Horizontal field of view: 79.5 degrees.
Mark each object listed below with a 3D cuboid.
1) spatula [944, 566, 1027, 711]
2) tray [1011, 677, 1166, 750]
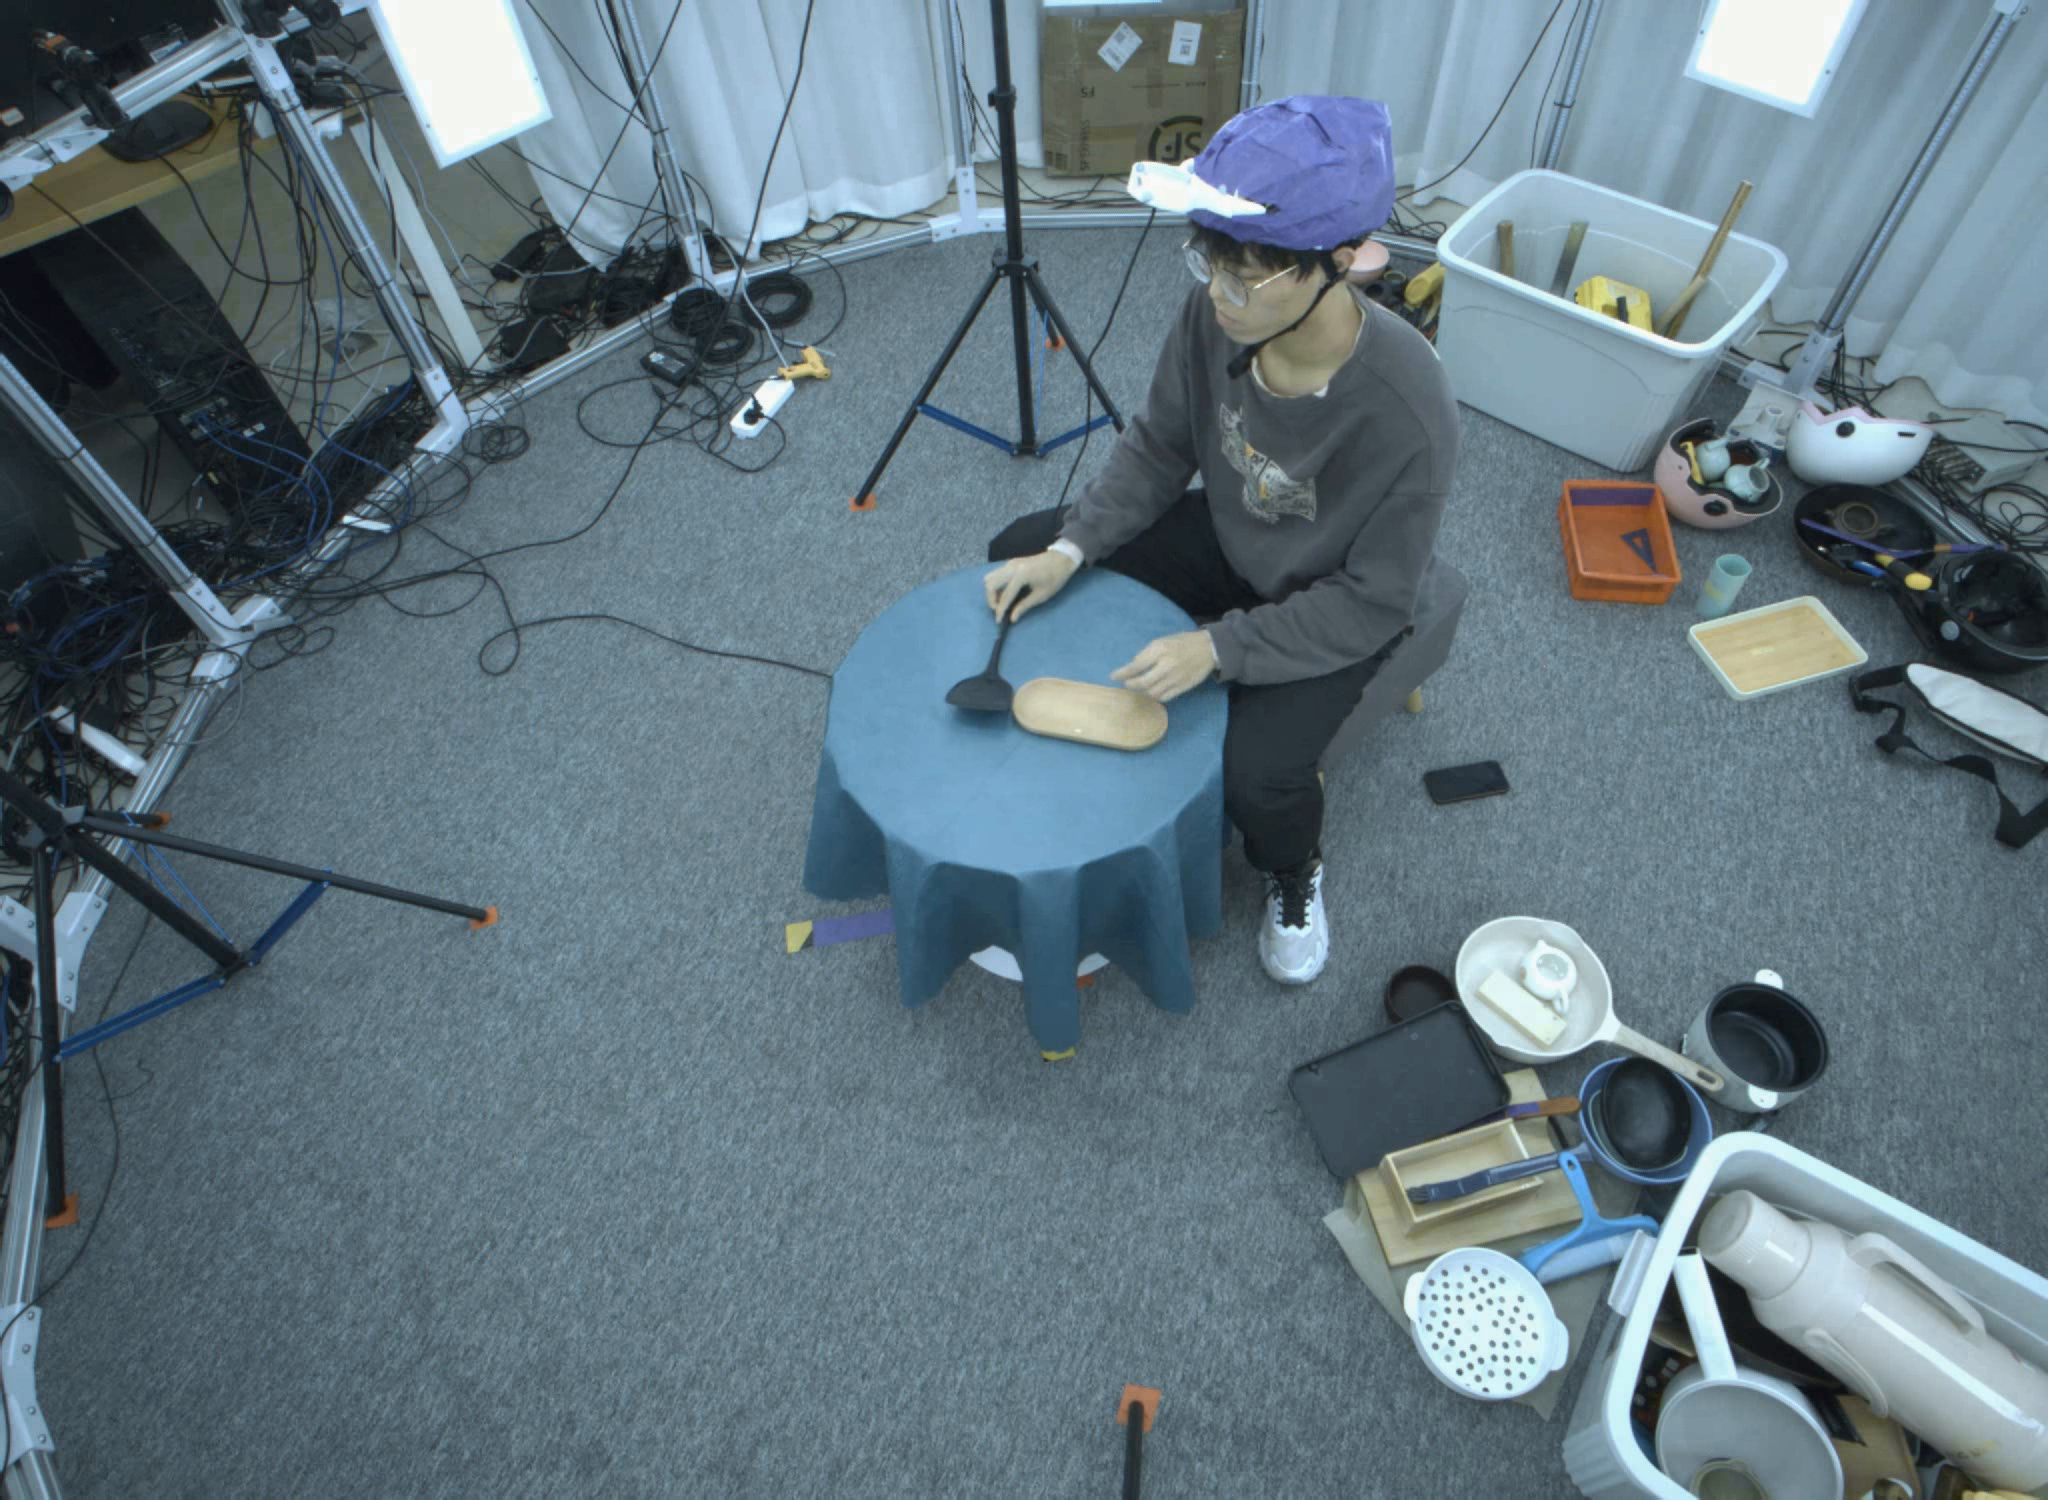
[{"bbox_3d":[-0.037,-0.179,1.892,0.099,0.041,0.324,9,55,9],"label":"spatula"},{"bbox_3d":[0.094,-0.054,1.810,0.229,0.020,0.101,10,55,10],"label":"tray"}]
